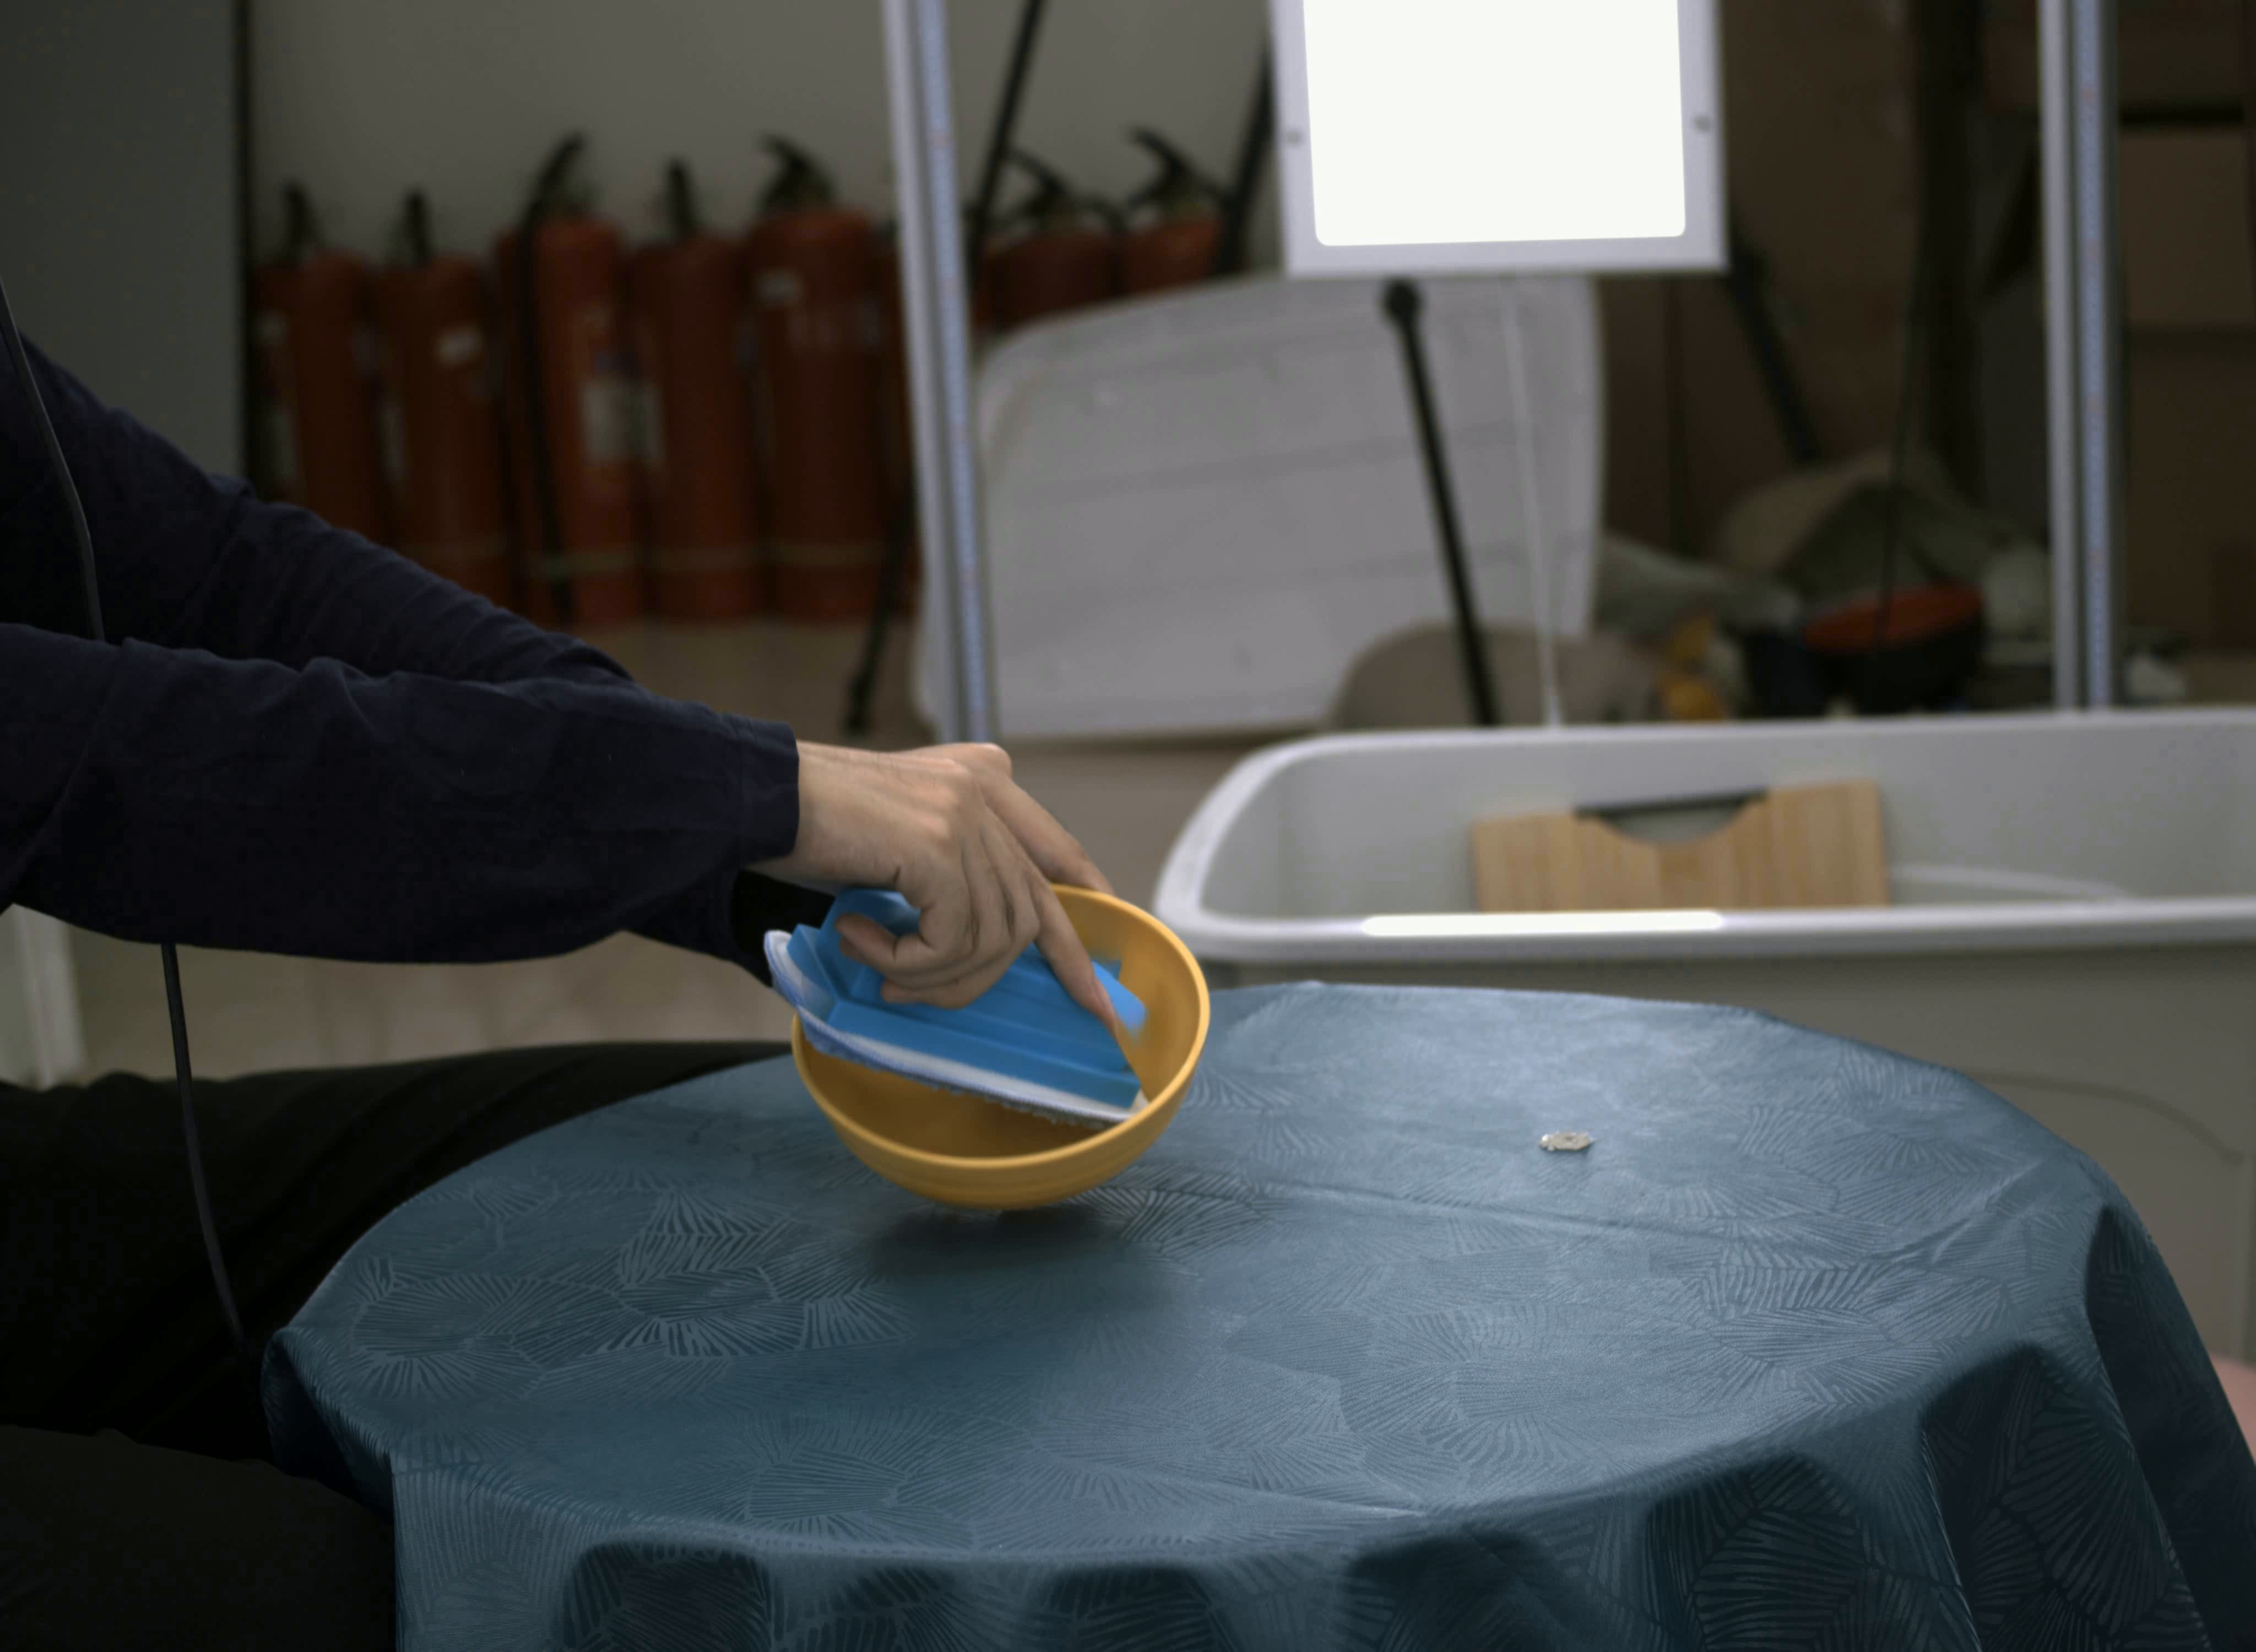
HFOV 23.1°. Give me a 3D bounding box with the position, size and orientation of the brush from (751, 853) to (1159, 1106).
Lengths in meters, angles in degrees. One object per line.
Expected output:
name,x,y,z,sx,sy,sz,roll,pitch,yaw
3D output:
brush,-0.054,0.050,1.872,0.141,0.056,0.084,19,15,-23

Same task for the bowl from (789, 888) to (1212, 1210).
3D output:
bowl,-0.042,0.088,1.899,0.145,0.060,0.145,-4,38,2
